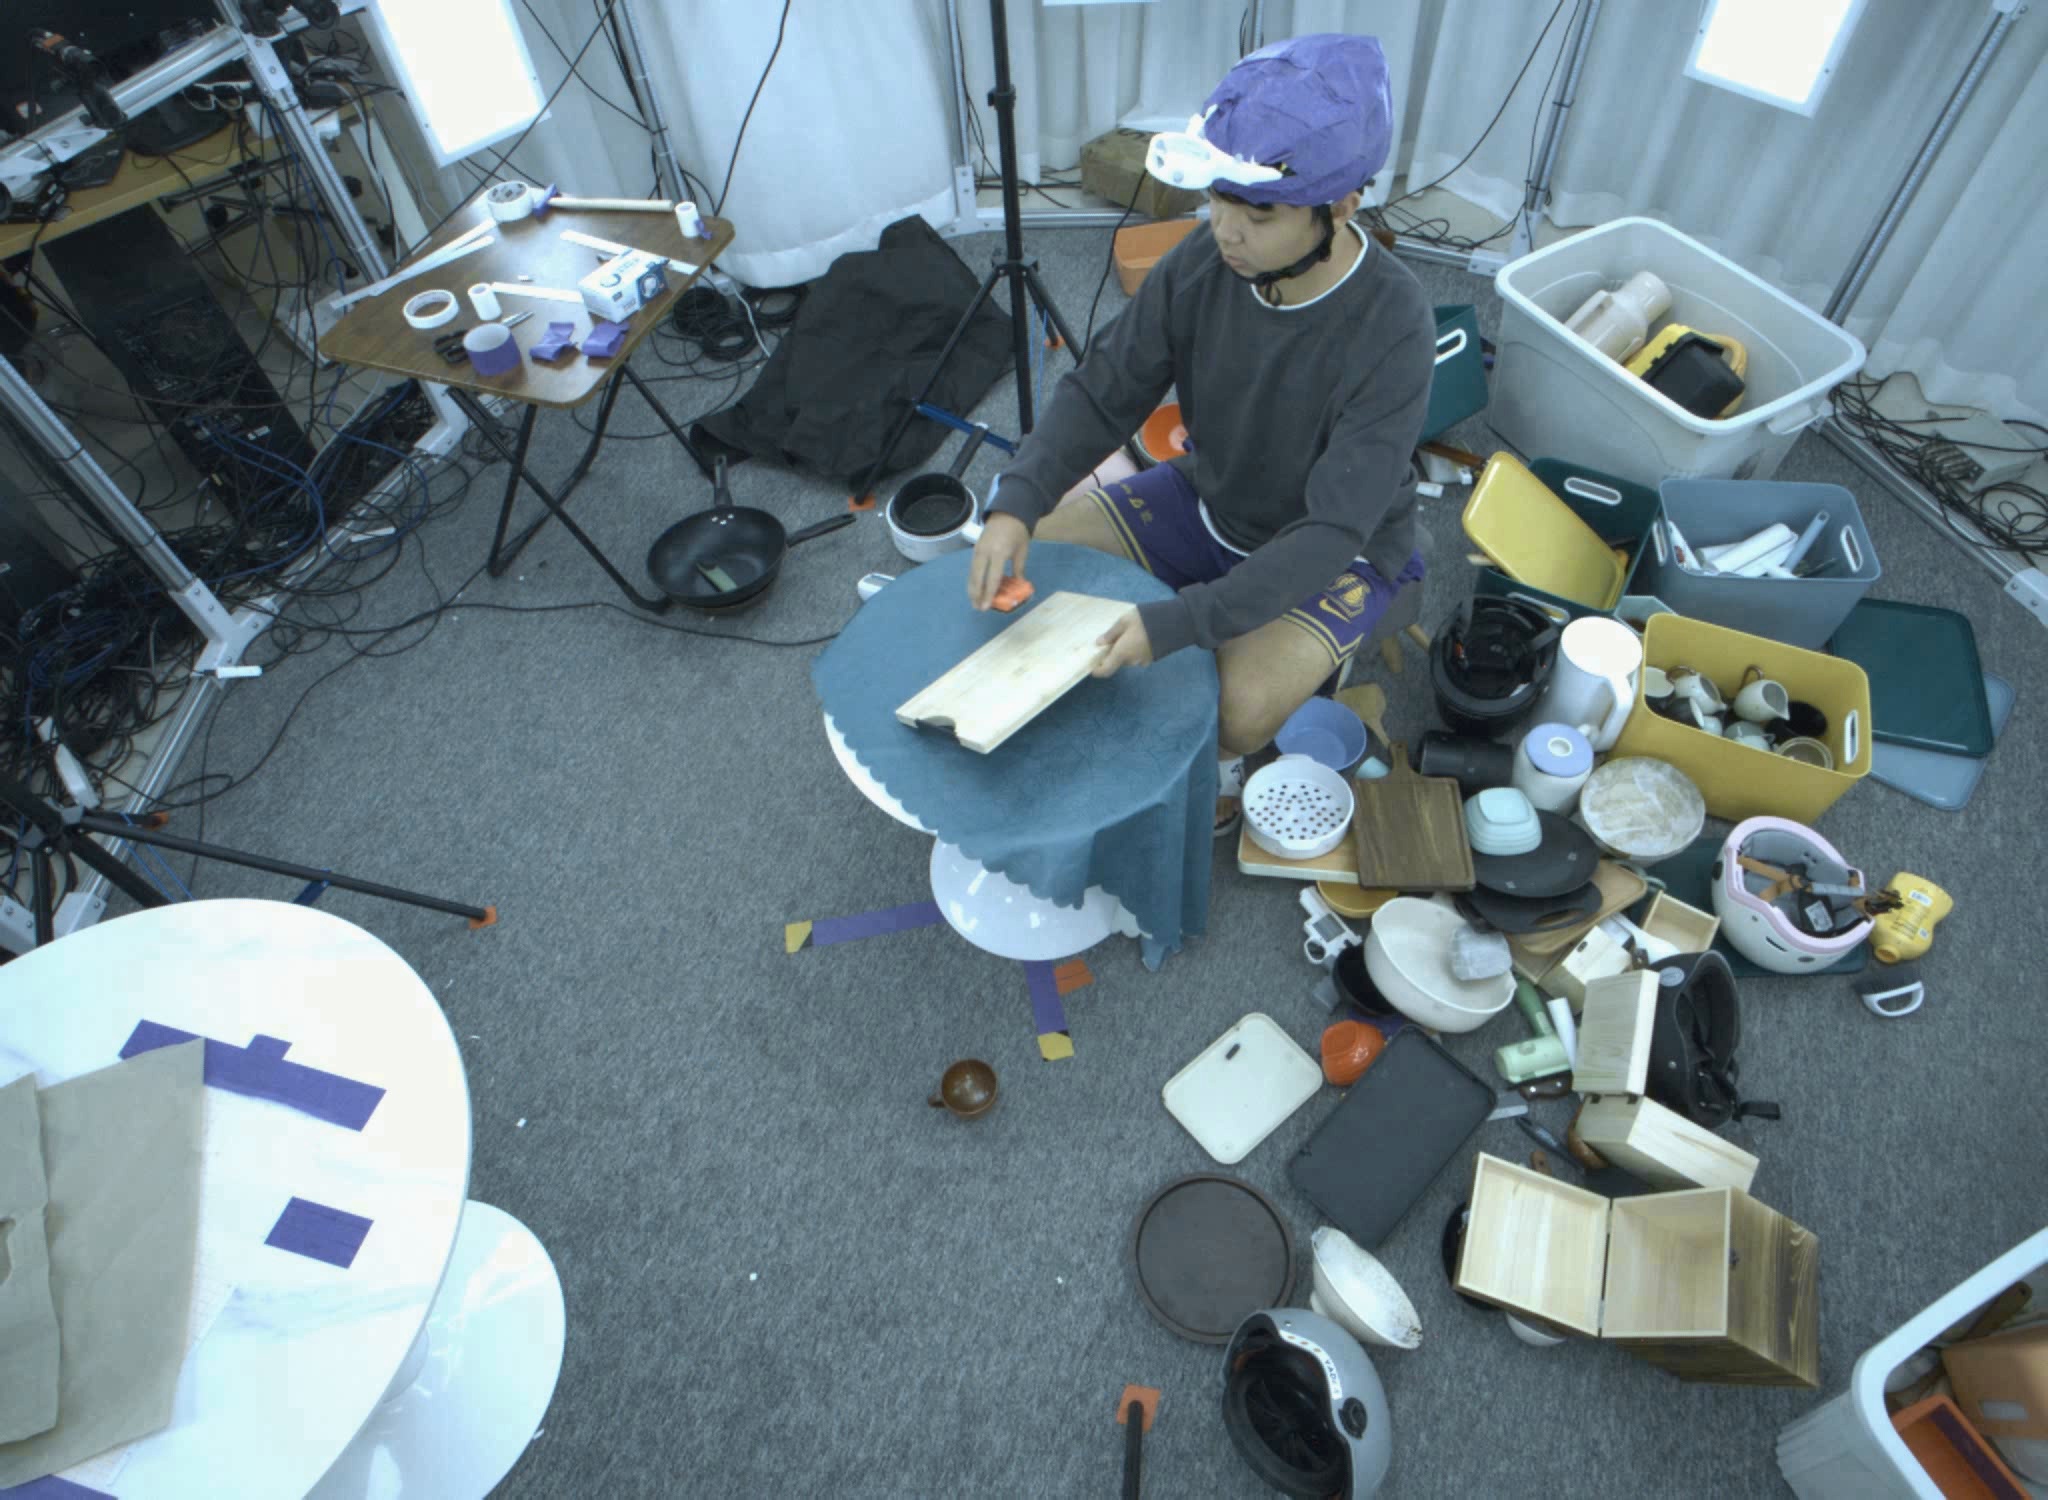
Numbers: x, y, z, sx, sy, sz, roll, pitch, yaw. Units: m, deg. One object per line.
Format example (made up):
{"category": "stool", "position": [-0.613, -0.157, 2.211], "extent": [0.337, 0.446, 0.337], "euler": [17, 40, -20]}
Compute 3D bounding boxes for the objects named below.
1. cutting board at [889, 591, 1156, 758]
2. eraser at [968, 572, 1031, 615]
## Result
{"category": "cutting board", "position": [-0.003, -0.120, 1.795], "extent": [0.351, 0.024, 0.245], "euler": [-39, 32, -23]}
{"category": "eraser", "position": [-0.038, -0.236, 1.842], "extent": [0.059, 0.023, 0.105], "euler": [-35, 32, -16]}
